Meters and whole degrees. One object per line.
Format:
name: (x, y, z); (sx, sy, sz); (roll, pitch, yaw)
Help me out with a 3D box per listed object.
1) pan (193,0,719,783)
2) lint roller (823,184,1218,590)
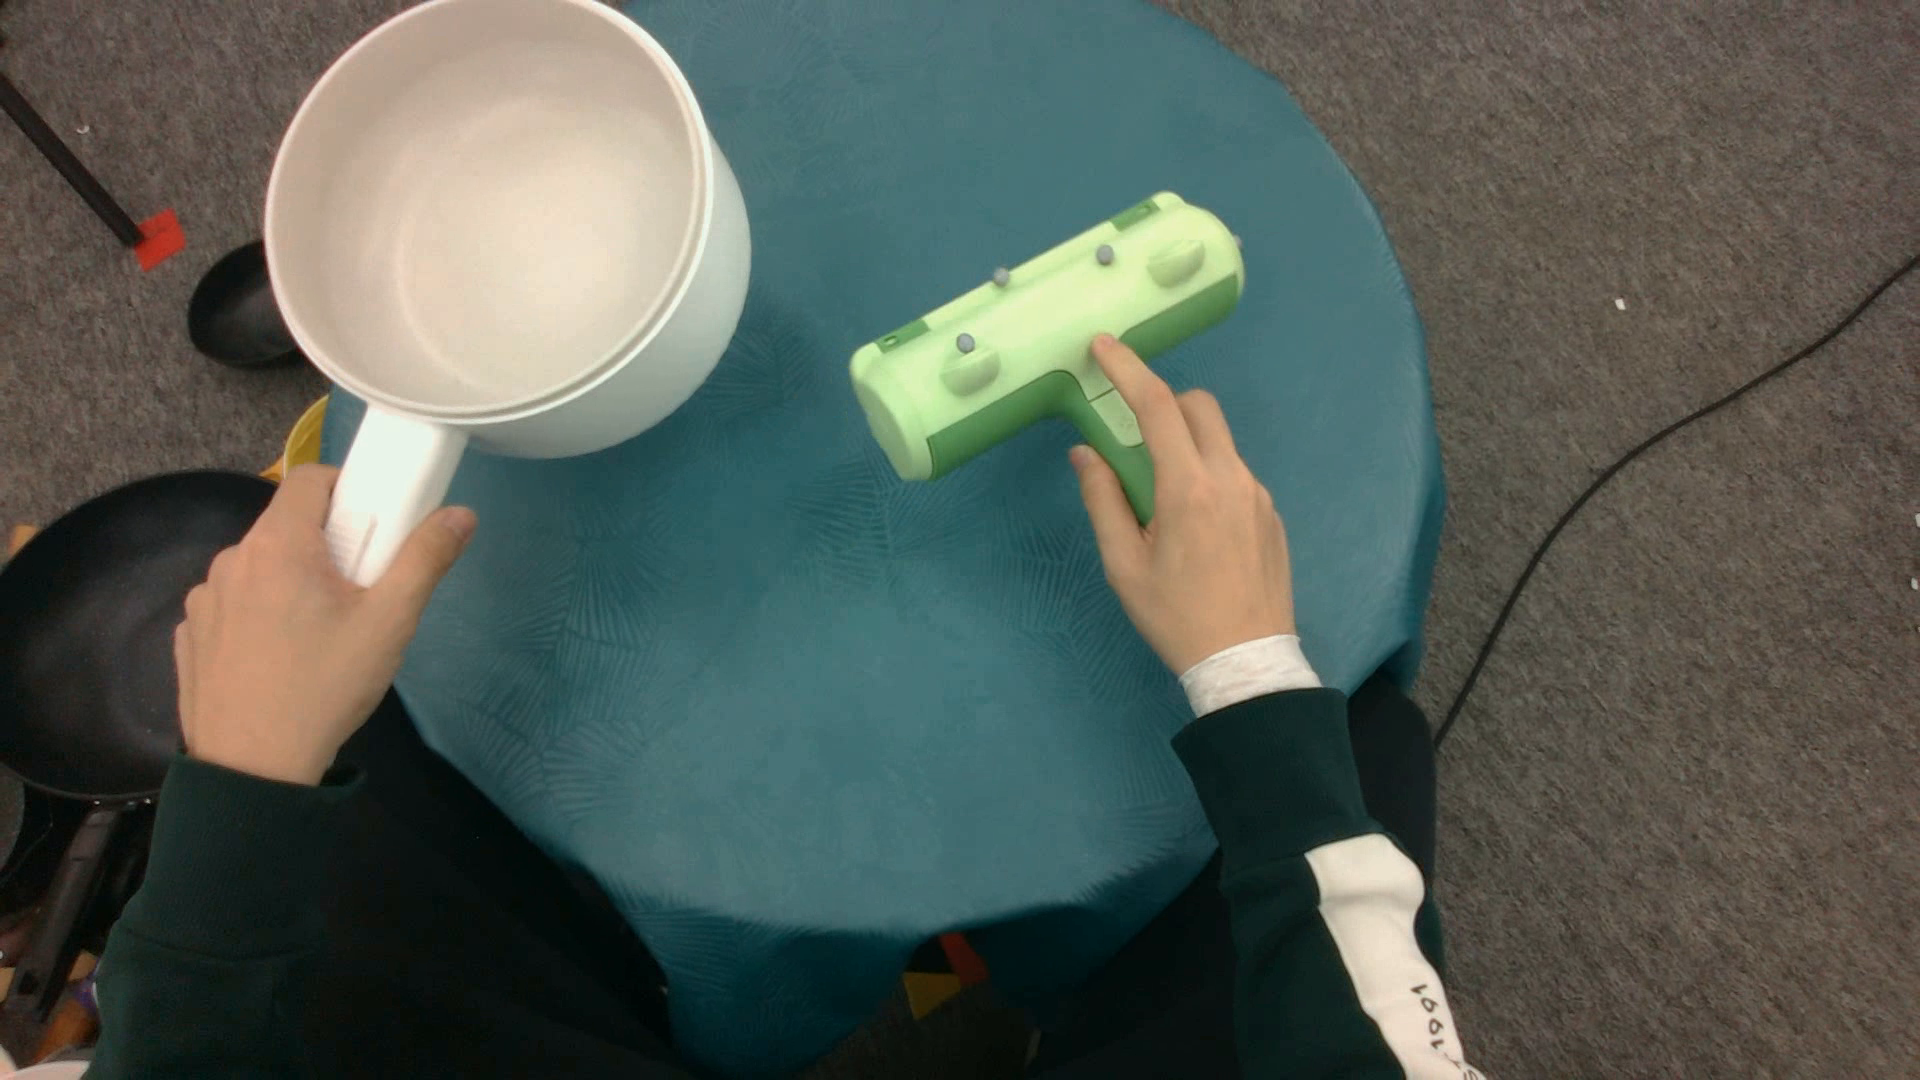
pan: (-0.236, -0.065, 0.627); (0.201, 0.102, 0.355); (16, 81, 8)
lint roller: (0.065, -0.062, 0.629); (0.199, 0.082, 0.183); (-30, 72, -20)
